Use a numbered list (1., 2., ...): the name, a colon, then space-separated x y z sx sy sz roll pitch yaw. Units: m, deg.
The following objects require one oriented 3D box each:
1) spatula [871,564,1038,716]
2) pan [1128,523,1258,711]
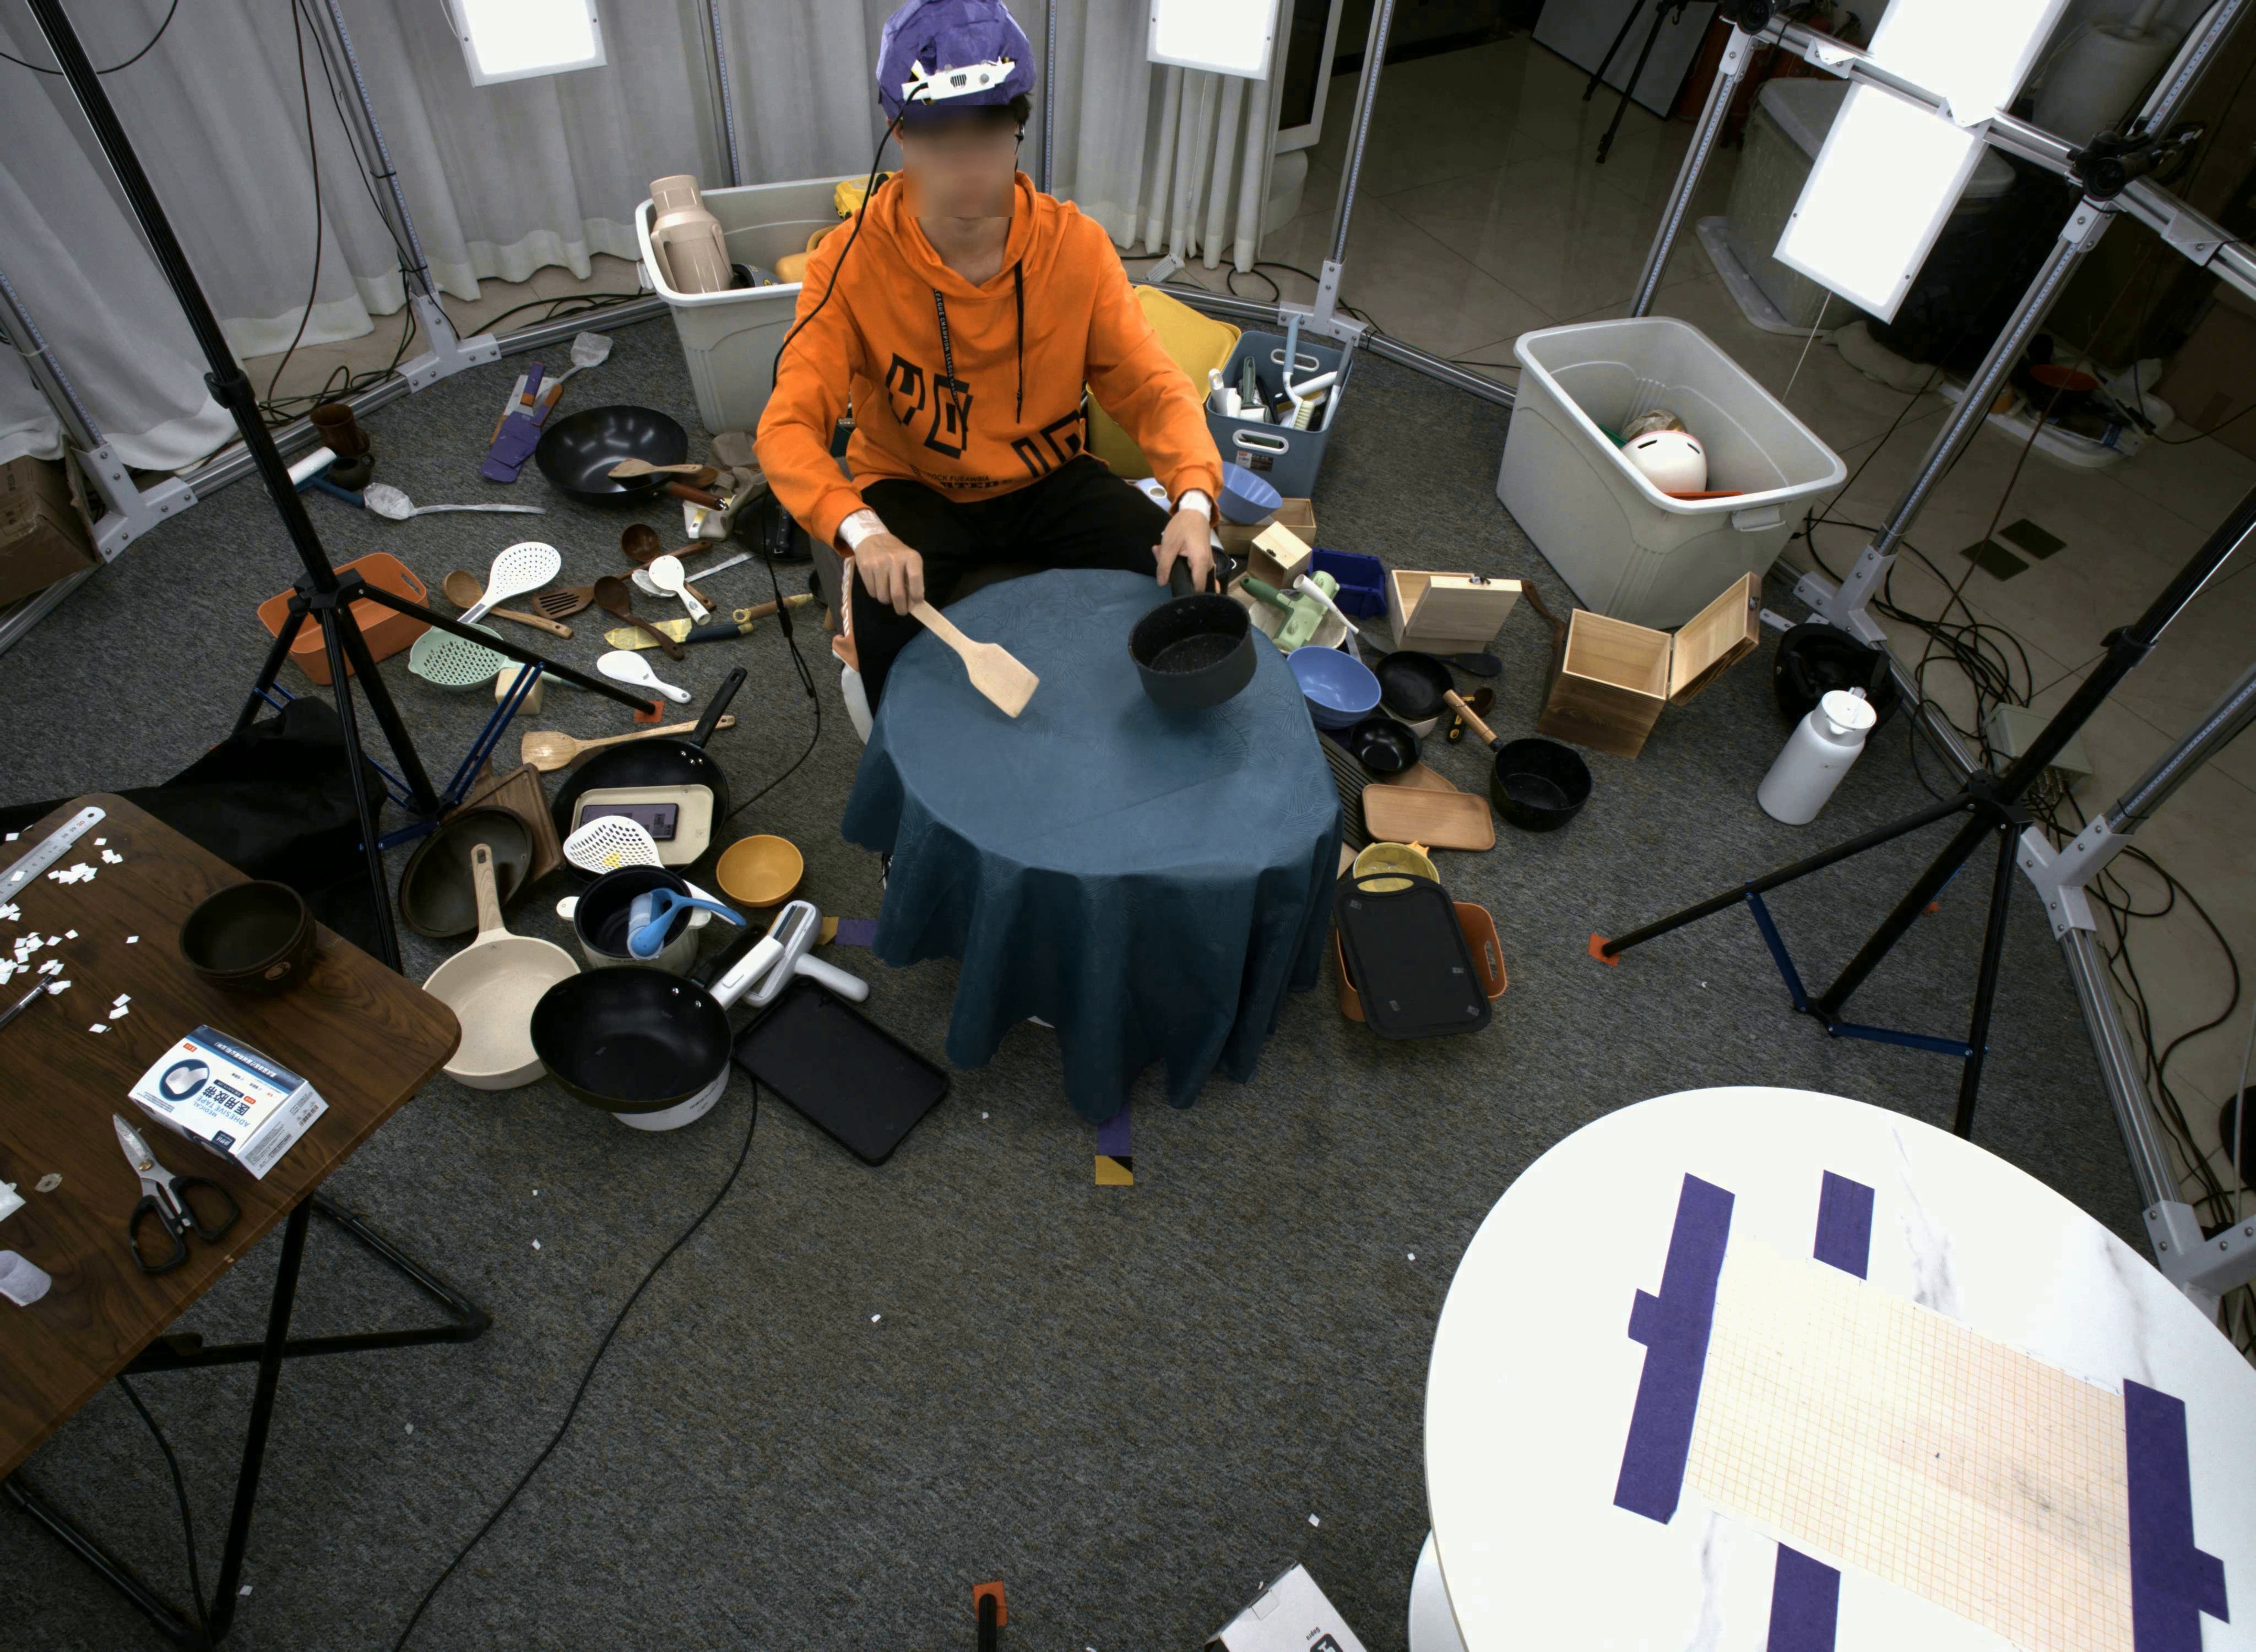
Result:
1. spatula: -0.247 -0.267 1.779 0.295 0.071 0.011 41 24 13
2. pan: 0.089 -0.299 1.819 0.172 0.084 0.337 -10 46 9
